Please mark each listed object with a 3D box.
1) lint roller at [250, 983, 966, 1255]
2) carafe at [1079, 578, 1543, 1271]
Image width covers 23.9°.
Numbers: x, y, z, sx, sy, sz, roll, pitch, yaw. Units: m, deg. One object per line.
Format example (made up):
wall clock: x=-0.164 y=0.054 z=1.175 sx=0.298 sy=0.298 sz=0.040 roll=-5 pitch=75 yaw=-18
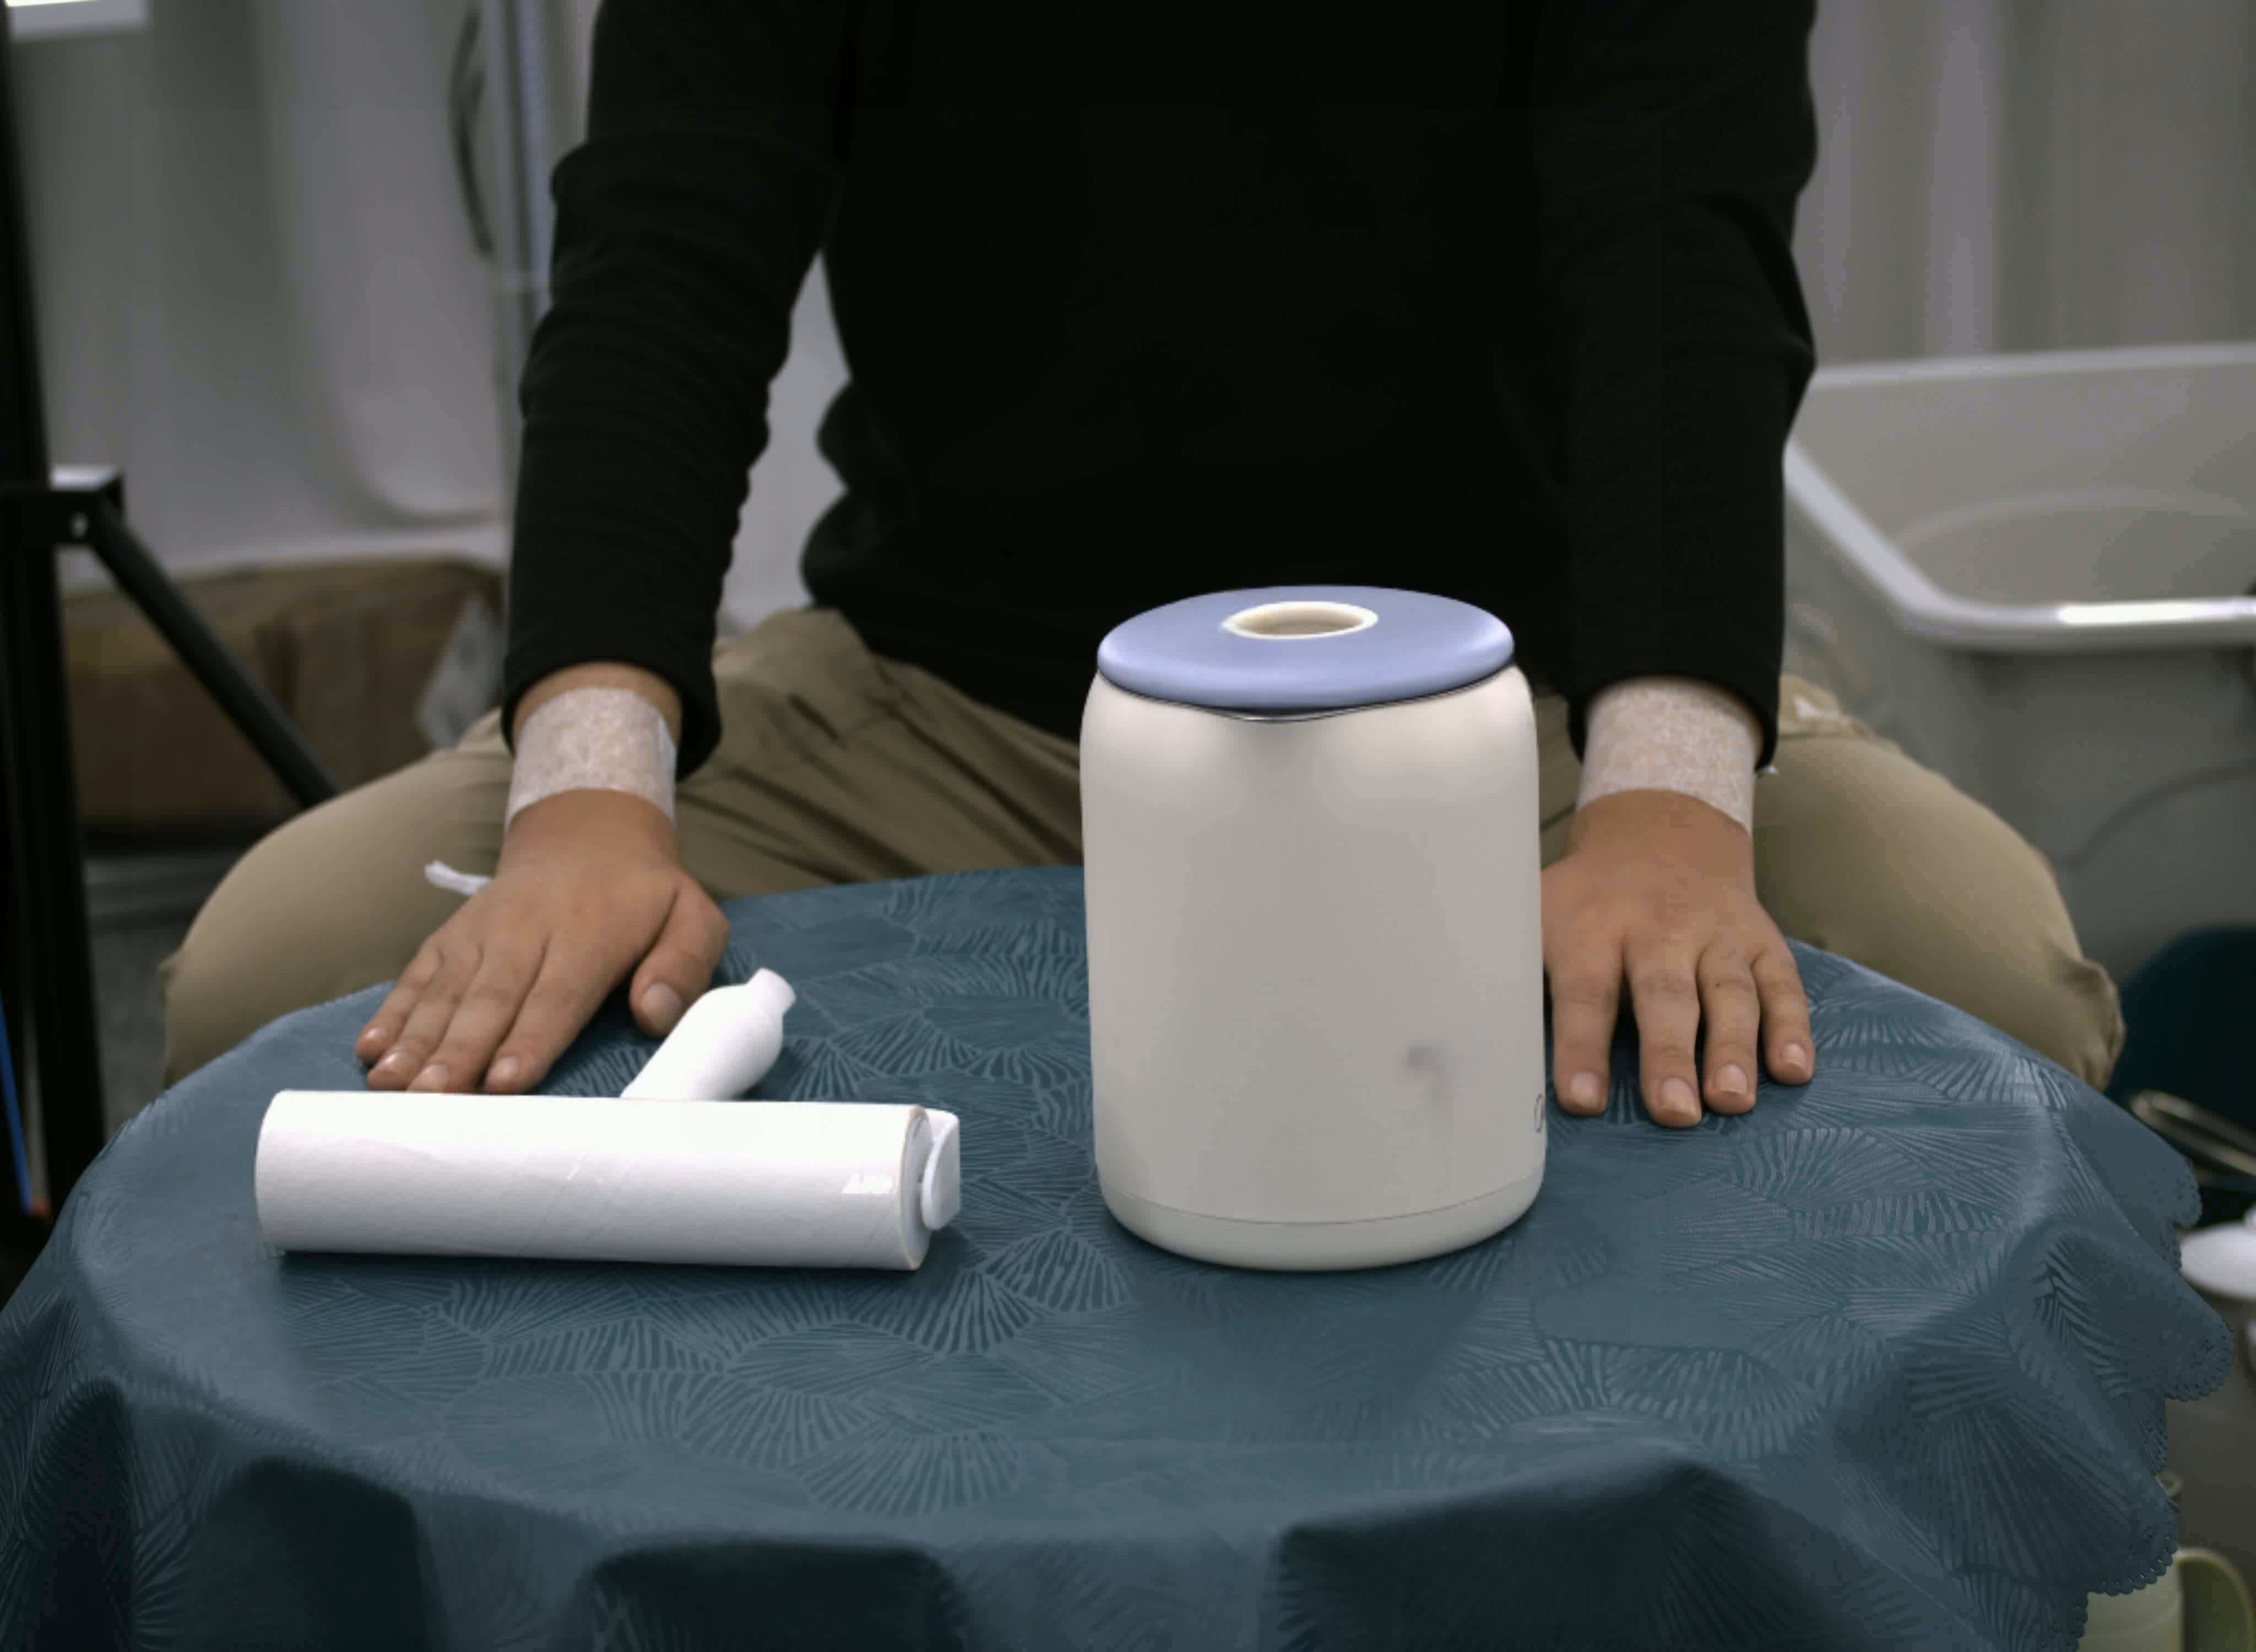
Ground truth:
lint roller: x=-0.136 y=0.078 z=1.608 sx=0.204 sy=0.048 sz=0.224 roll=-1 pitch=15 yaw=11
carafe: x=0.056 y=0.021 z=1.541 sx=0.132 sy=0.182 sz=0.190 roll=1 pitch=13 yaw=8
